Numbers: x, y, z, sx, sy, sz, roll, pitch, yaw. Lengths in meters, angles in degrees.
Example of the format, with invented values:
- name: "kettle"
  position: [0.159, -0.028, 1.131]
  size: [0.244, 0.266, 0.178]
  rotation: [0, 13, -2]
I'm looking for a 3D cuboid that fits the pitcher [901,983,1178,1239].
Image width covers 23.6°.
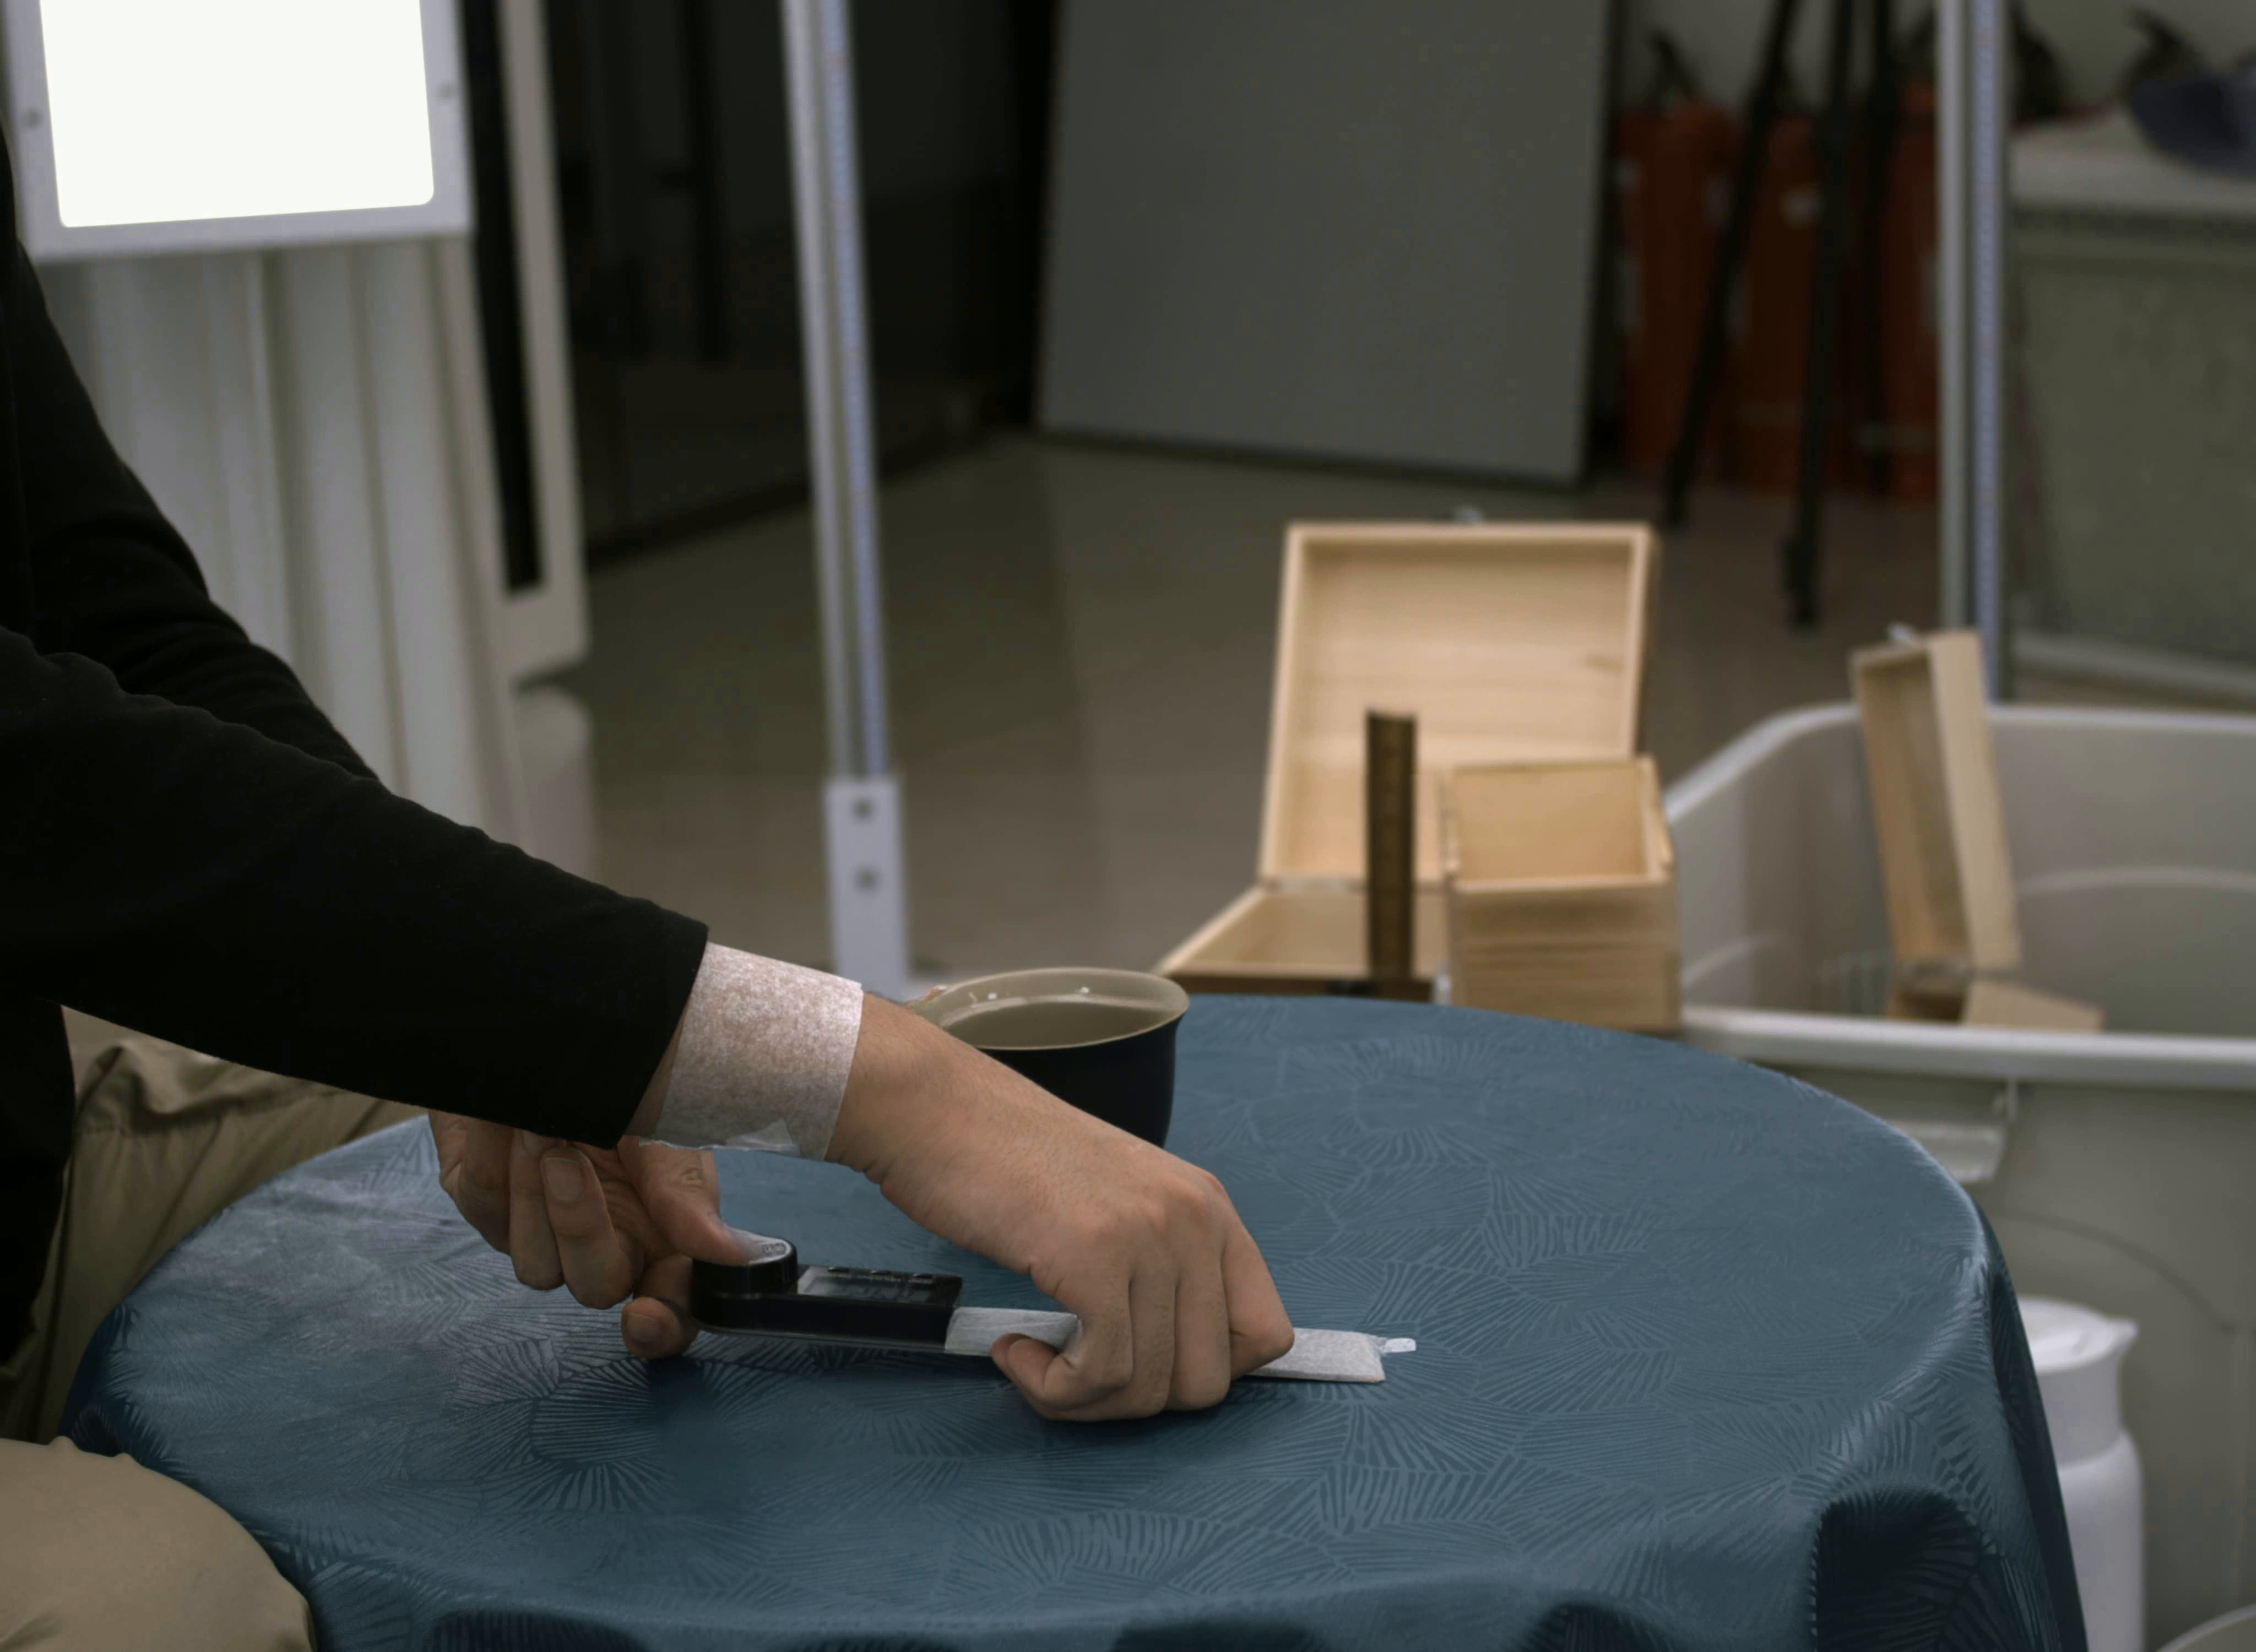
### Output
- name: "pitcher"
  position: [-0.029, 0.091, 1.746]
  size: [0.096, 0.072, 0.082]
  rotation: [5, 17, 29]

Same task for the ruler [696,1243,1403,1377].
- name: "ruler"
  position: [-0.026, 0.144, 1.615]
  size: [0.217, 0.024, 0.038]
  rotation: [1, 18, 15]
